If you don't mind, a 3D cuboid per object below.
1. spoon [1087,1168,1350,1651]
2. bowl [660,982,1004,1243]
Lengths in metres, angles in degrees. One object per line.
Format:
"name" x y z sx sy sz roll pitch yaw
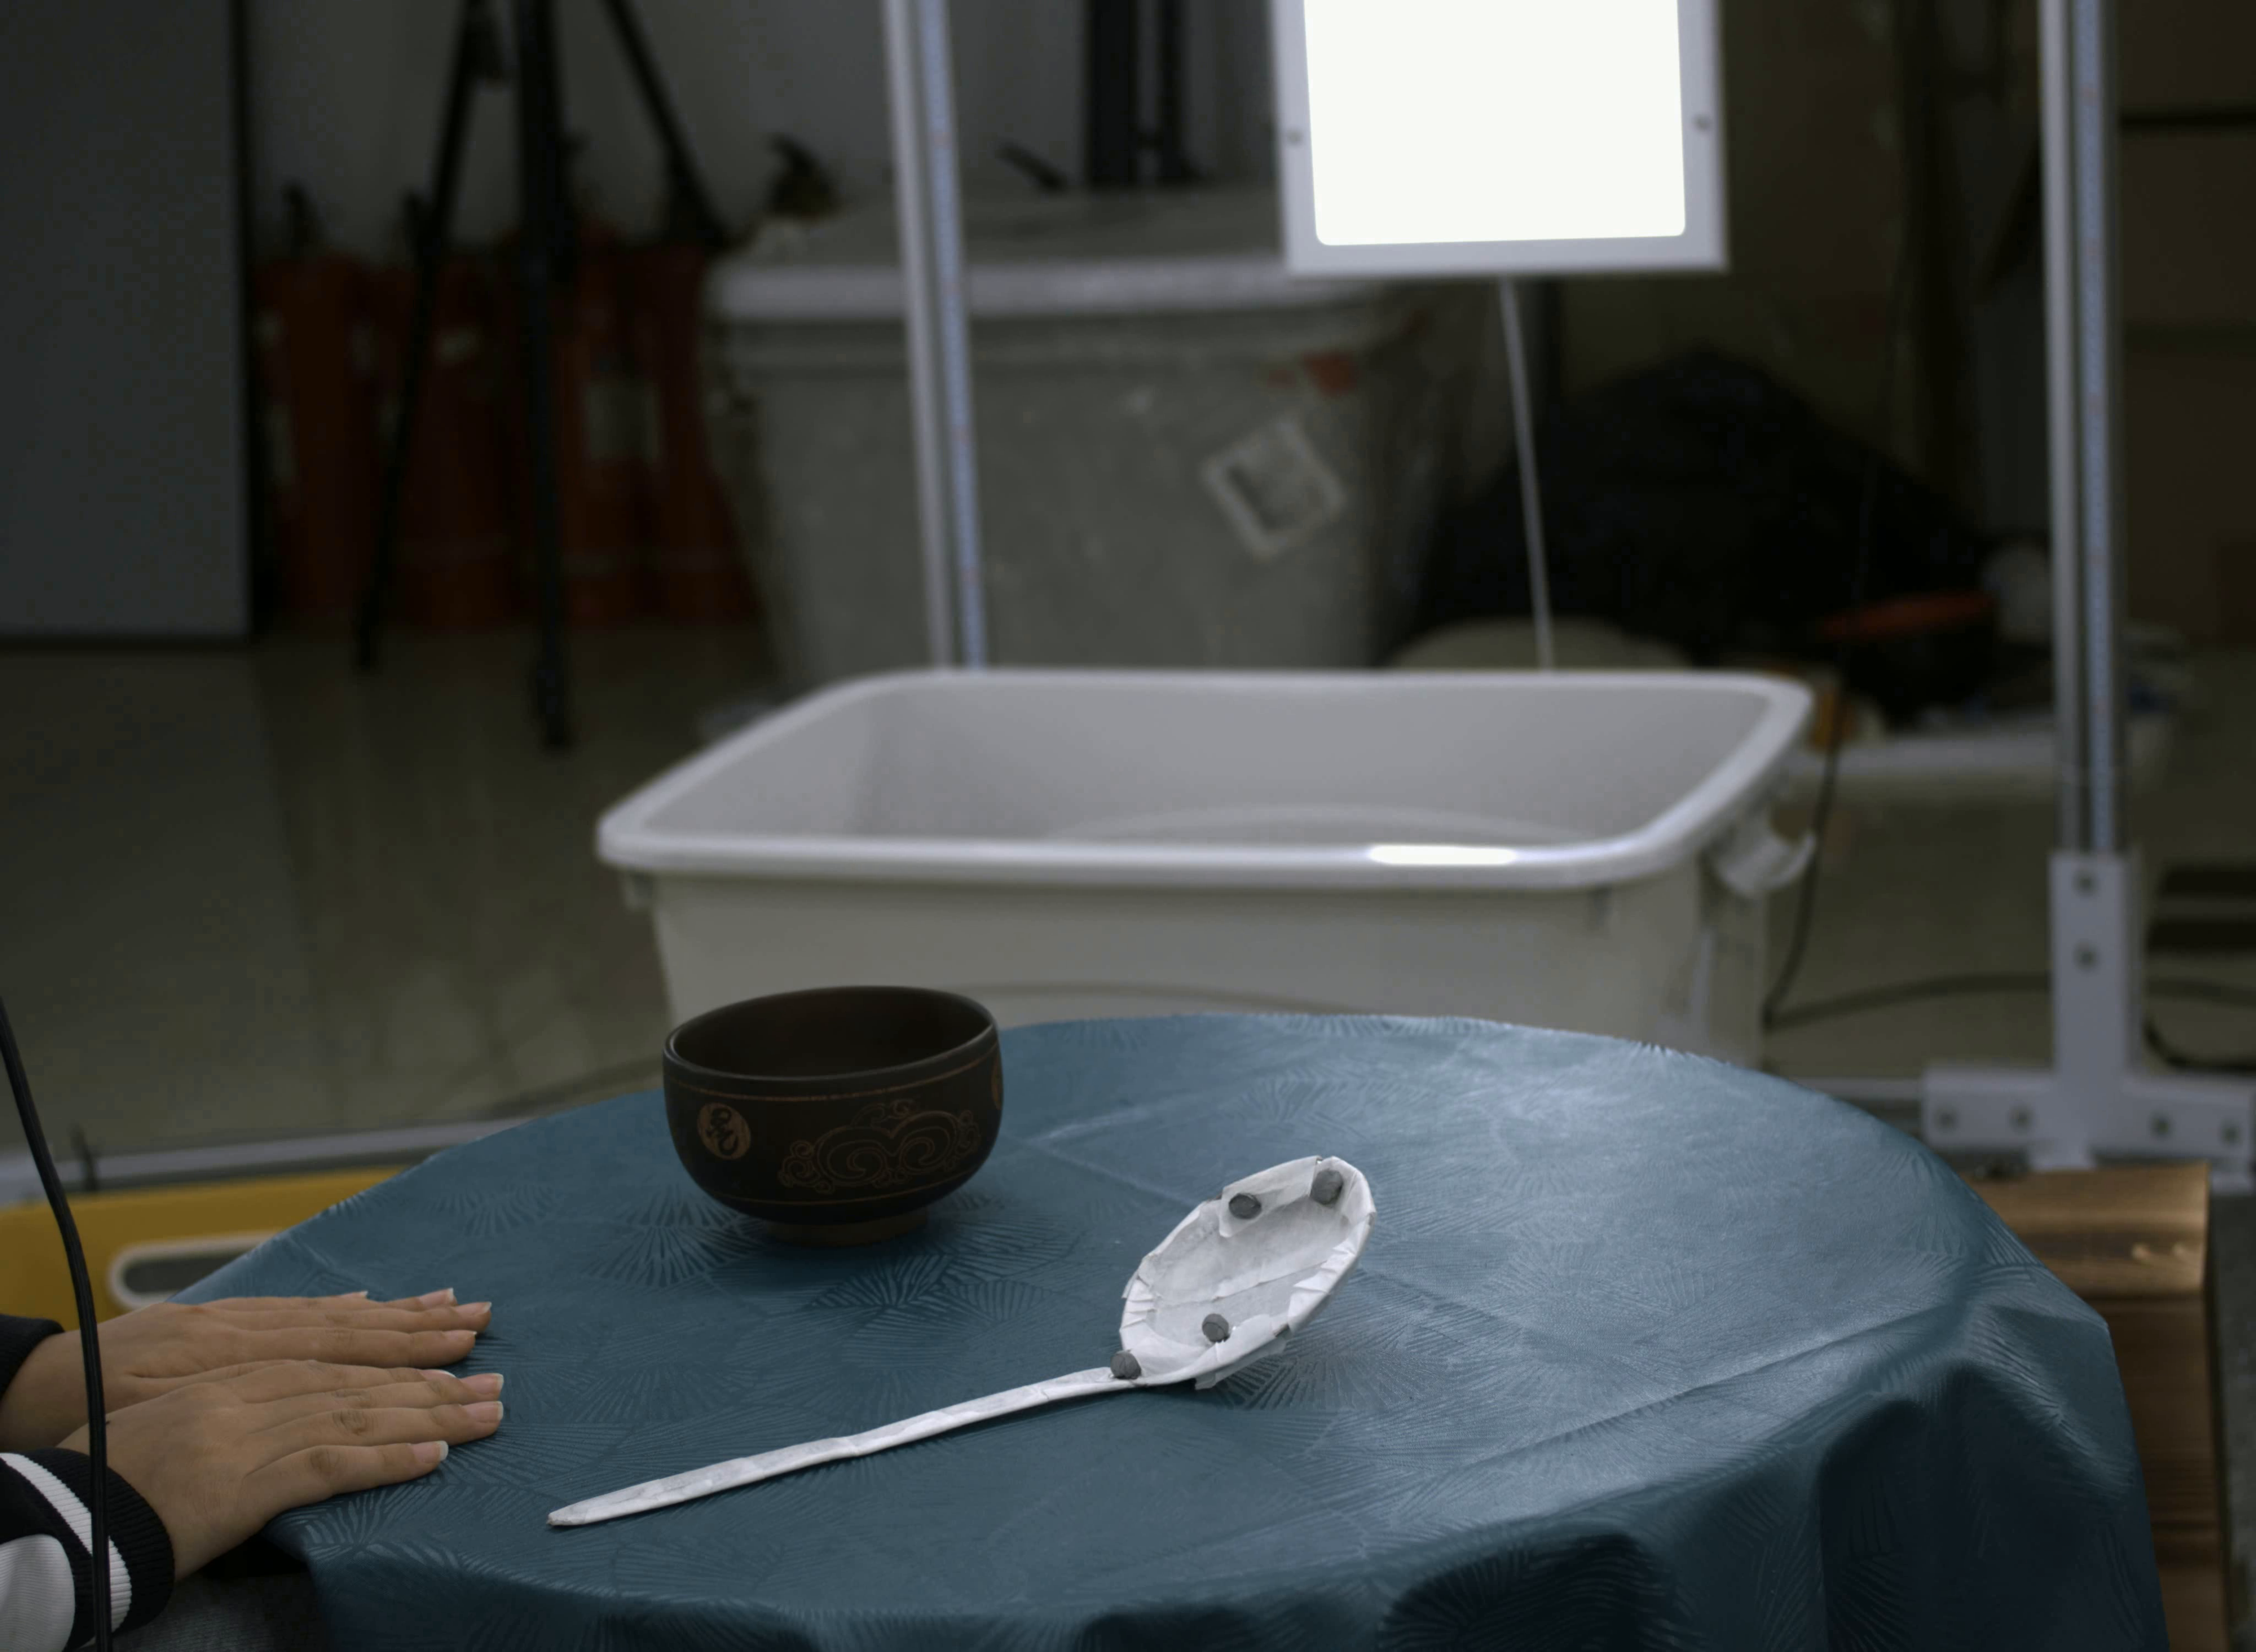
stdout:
"spoon" 0.025 0.232 1.694 0.058 0.277 0.103 19 -26 -37
"bowl" -0.100 0.101 1.885 0.118 0.070 0.118 -5 13 0
